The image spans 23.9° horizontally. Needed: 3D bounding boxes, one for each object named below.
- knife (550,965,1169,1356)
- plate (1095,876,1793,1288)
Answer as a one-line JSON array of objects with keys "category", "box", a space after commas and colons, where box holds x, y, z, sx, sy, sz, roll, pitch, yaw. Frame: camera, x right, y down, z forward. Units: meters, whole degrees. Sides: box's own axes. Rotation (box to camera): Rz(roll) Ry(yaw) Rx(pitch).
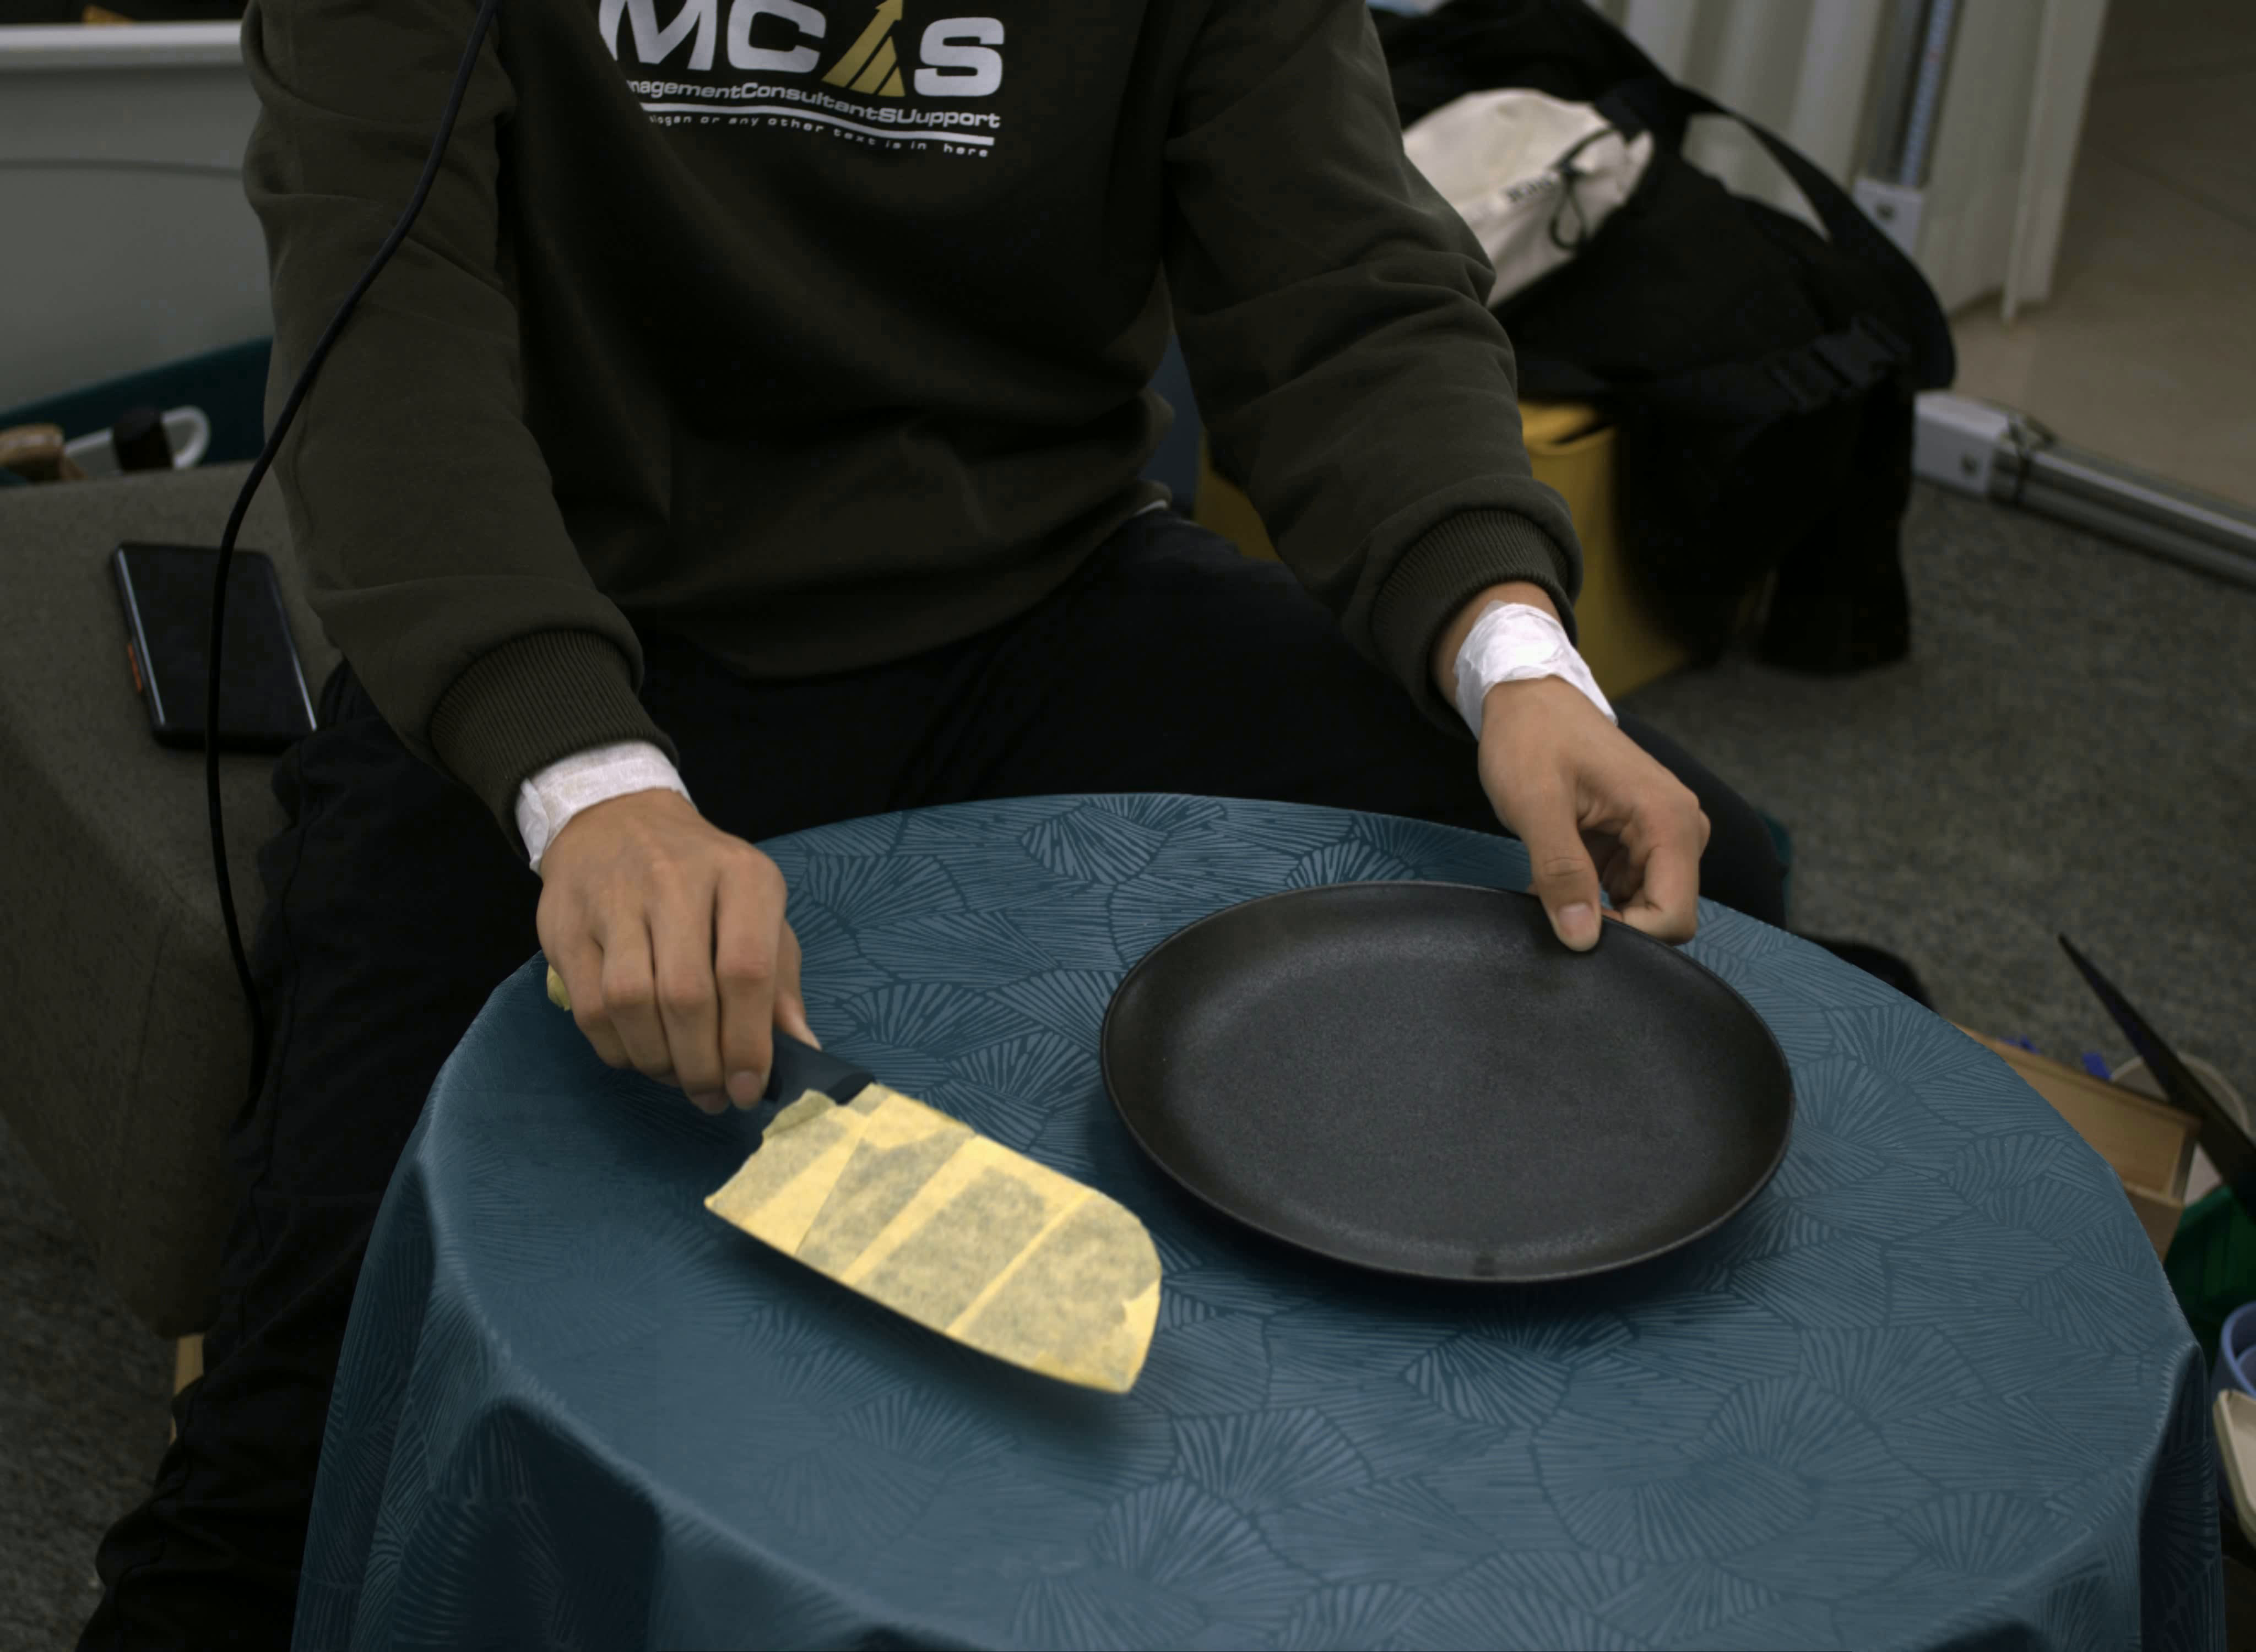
[{"category": "knife", "box": [-0.097, 0.109, 1.745, 0.291, 0.027, 0.081, 25, 52, 37]}, {"category": "plate", "box": [0.109, 0.092, 1.847, 0.243, 0.023, 0.246, 3, 32, -2]}]
